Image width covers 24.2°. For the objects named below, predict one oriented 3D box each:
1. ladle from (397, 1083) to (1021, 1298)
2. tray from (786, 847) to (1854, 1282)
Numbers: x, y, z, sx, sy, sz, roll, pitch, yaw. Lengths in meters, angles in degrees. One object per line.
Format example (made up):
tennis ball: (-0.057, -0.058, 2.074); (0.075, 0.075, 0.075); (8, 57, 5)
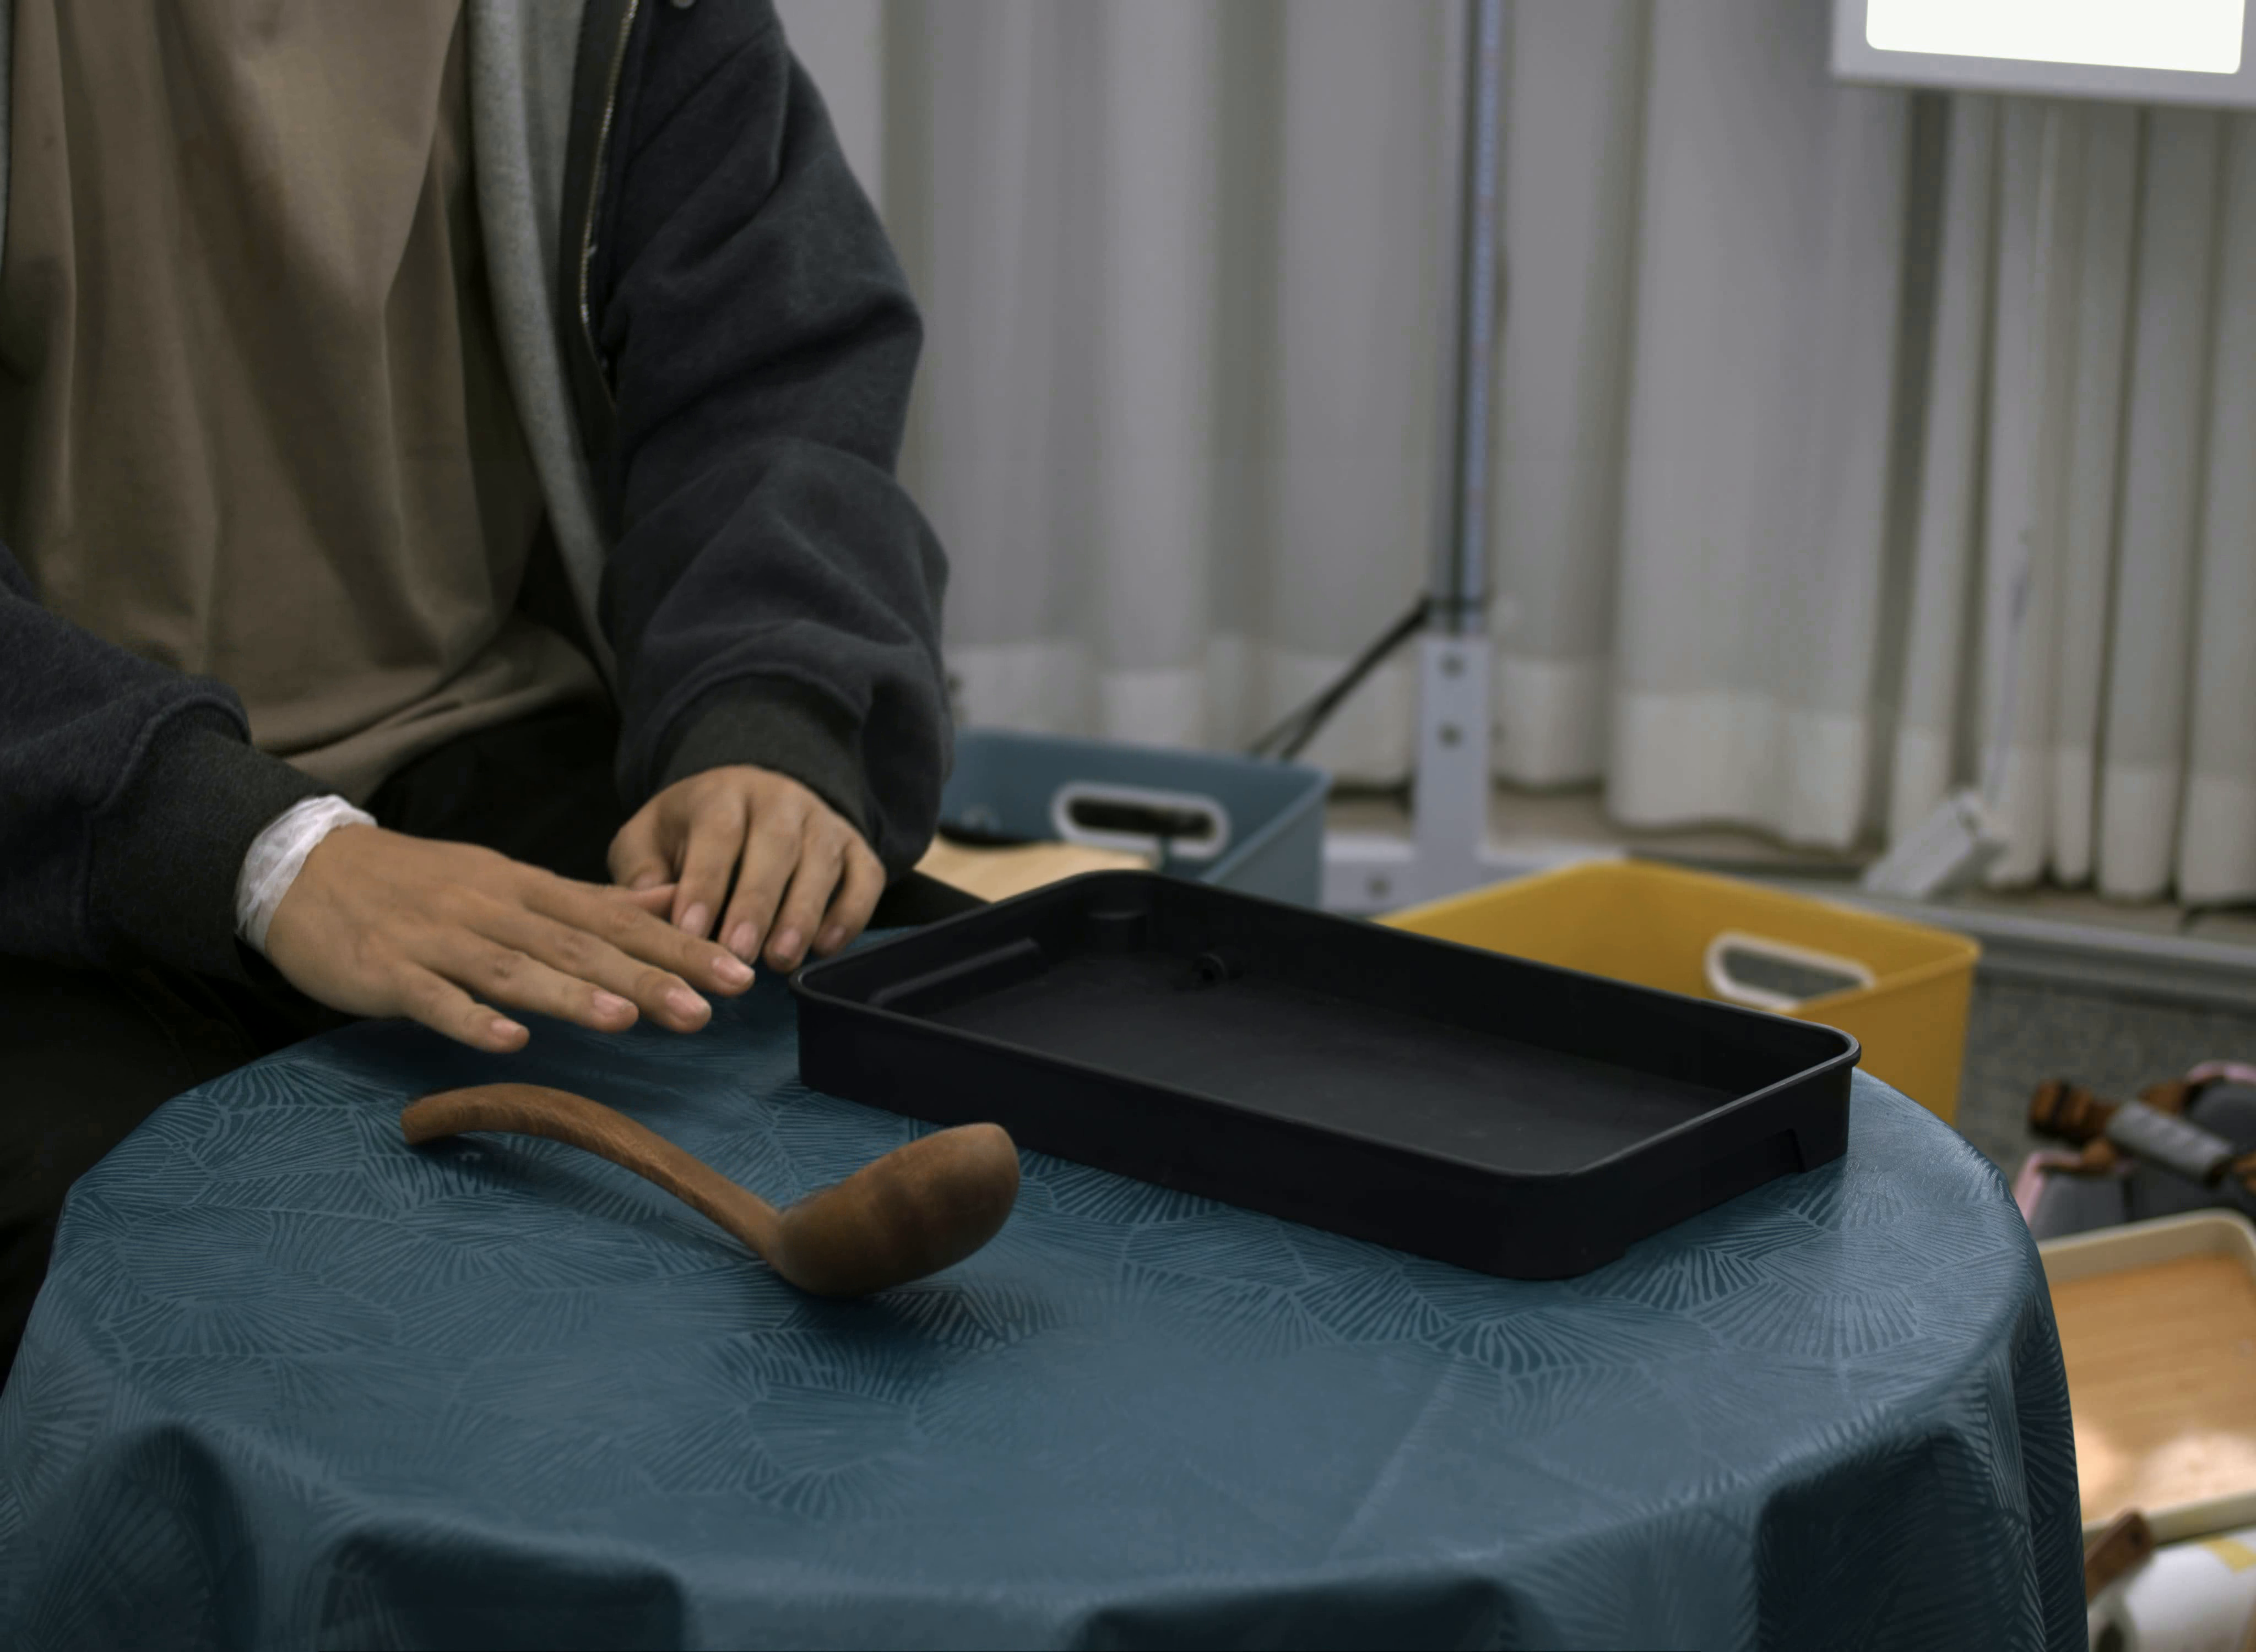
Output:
ladle: (-0.134, 0.091, 1.573); (0.257, 0.065, 0.077); (15, 17, 43)
tray: (0.058, 0.072, 1.694); (0.314, 0.037, 0.185); (14, 21, 37)
